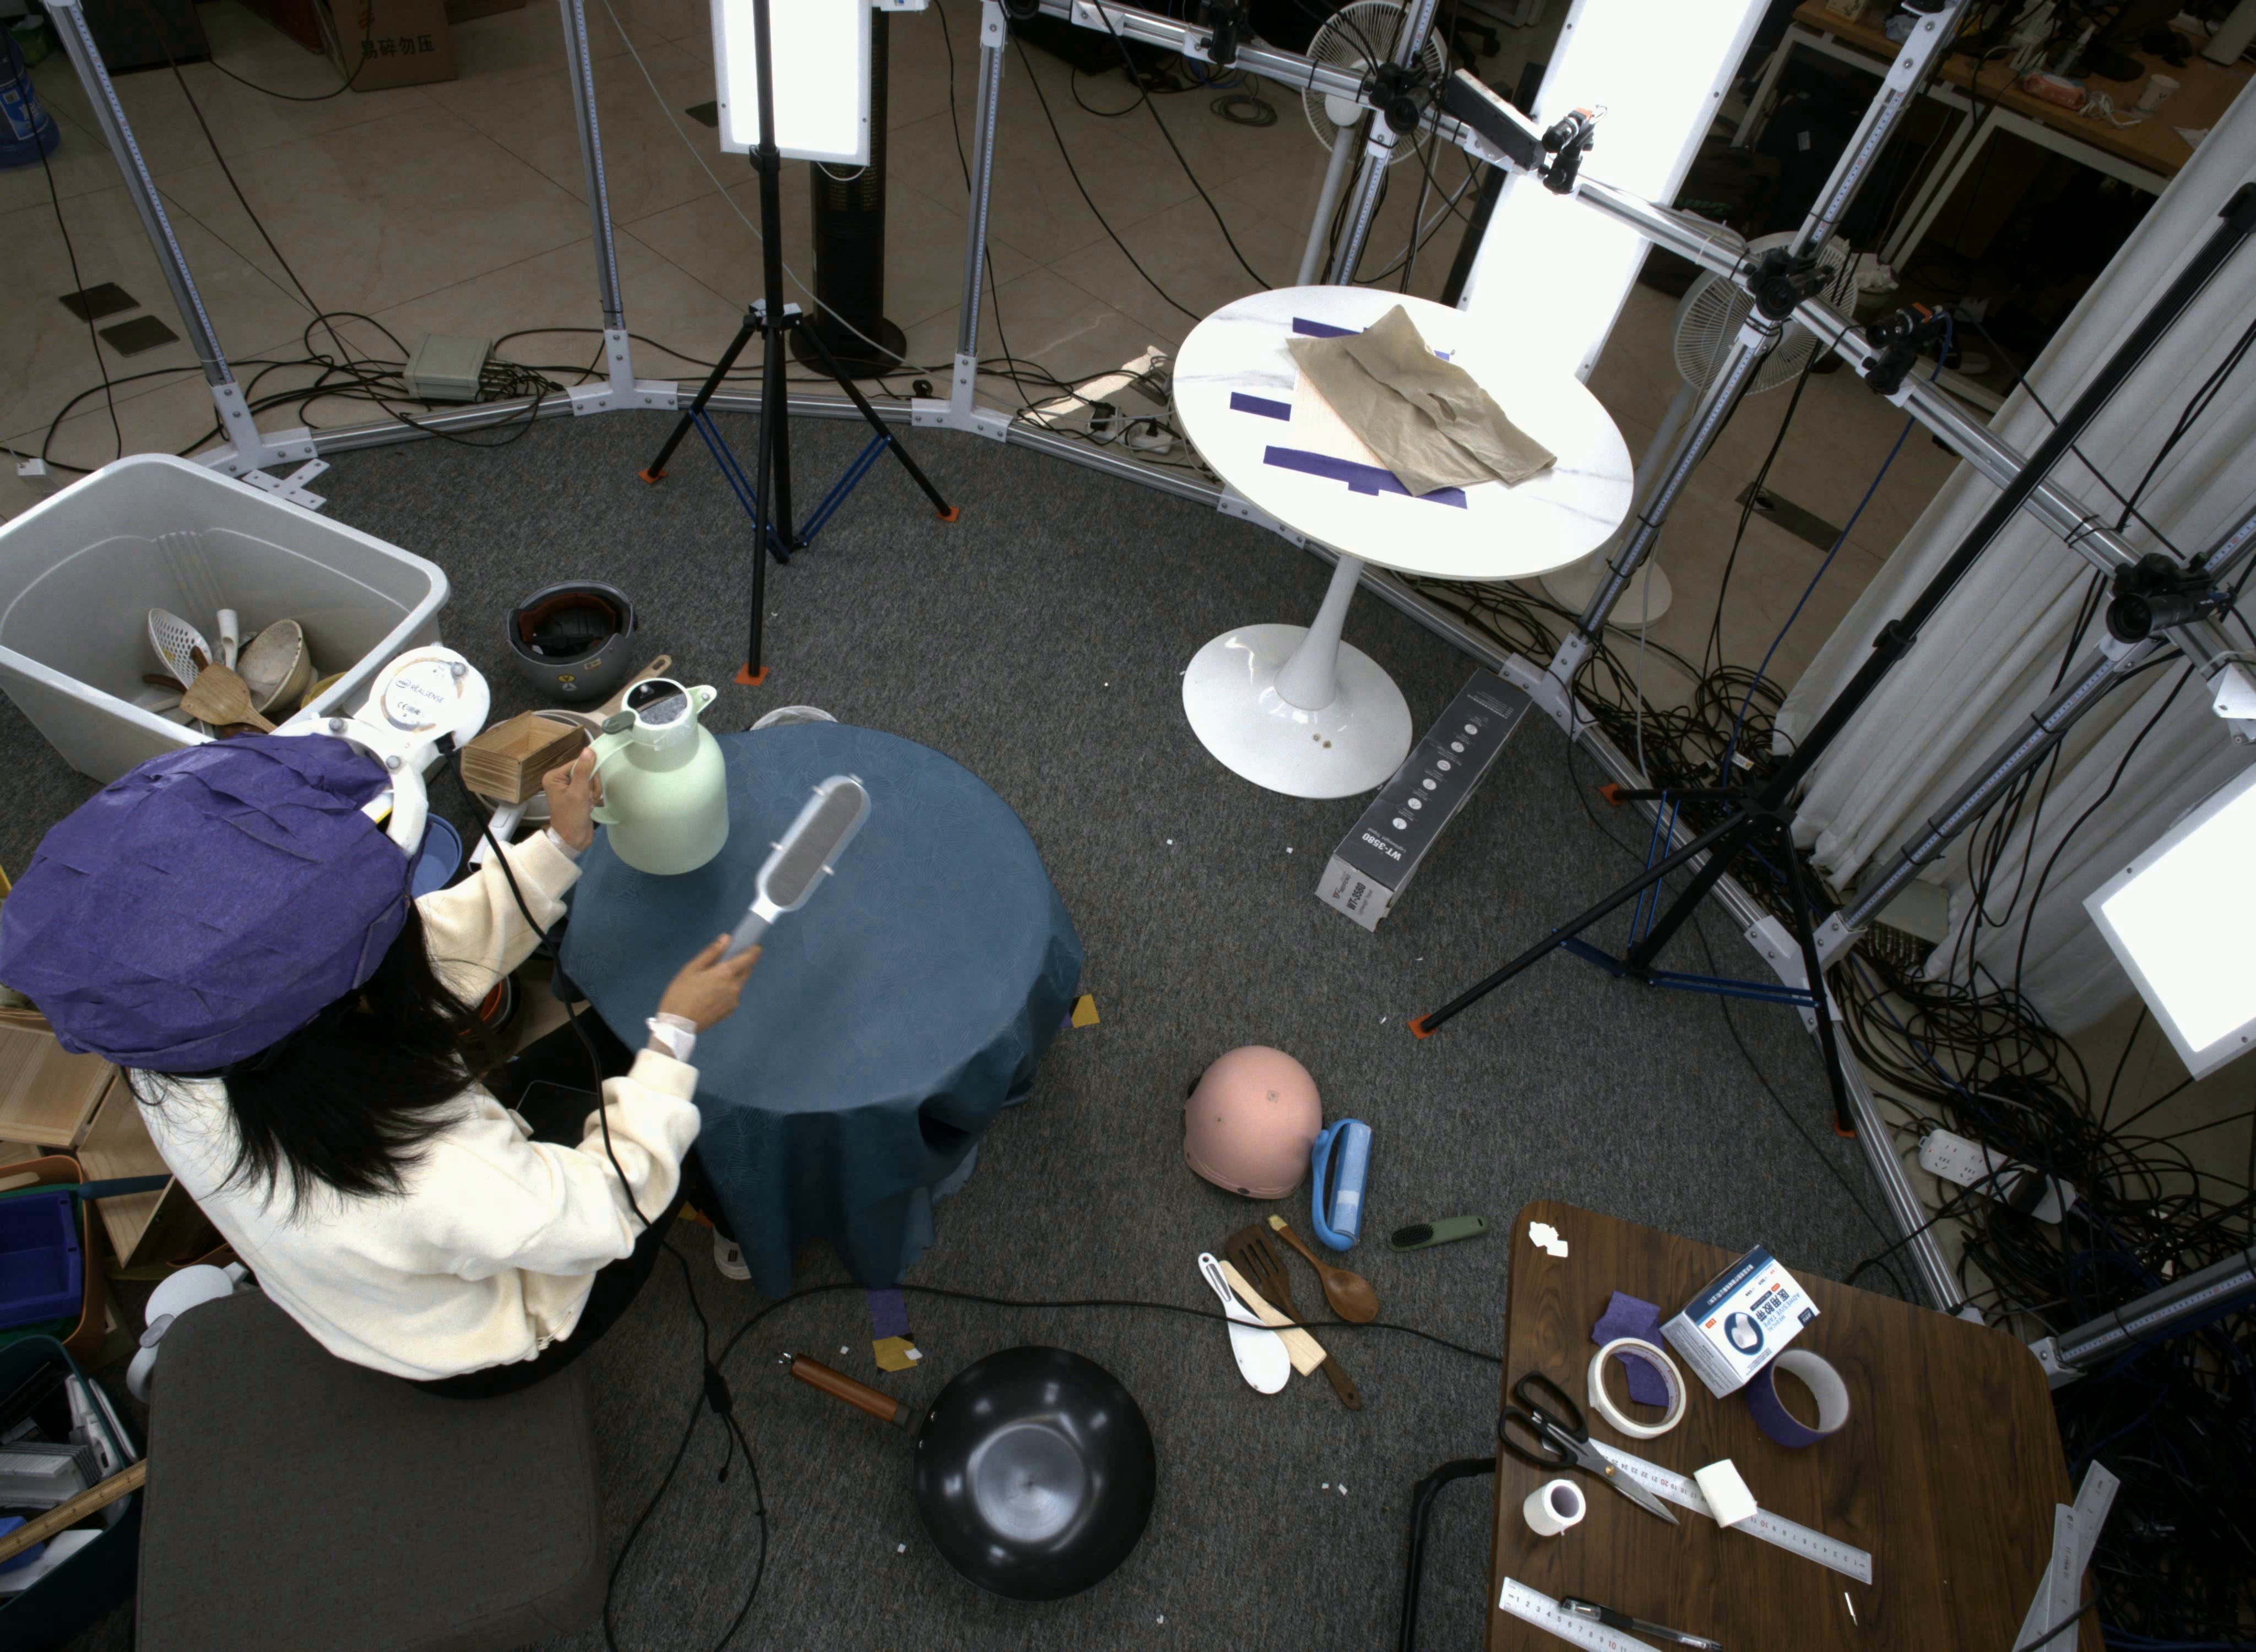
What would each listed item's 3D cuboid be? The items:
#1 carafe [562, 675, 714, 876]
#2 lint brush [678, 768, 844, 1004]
[{"bbox_3d":[-0.568,-0.058,1.475,0.142,0.261,0.187,44,59,16],"label":"carafe"},{"bbox_3d":[-0.410,0.061,1.443,0.062,0.020,0.308,43,62,-29],"label":"lint brush"}]
